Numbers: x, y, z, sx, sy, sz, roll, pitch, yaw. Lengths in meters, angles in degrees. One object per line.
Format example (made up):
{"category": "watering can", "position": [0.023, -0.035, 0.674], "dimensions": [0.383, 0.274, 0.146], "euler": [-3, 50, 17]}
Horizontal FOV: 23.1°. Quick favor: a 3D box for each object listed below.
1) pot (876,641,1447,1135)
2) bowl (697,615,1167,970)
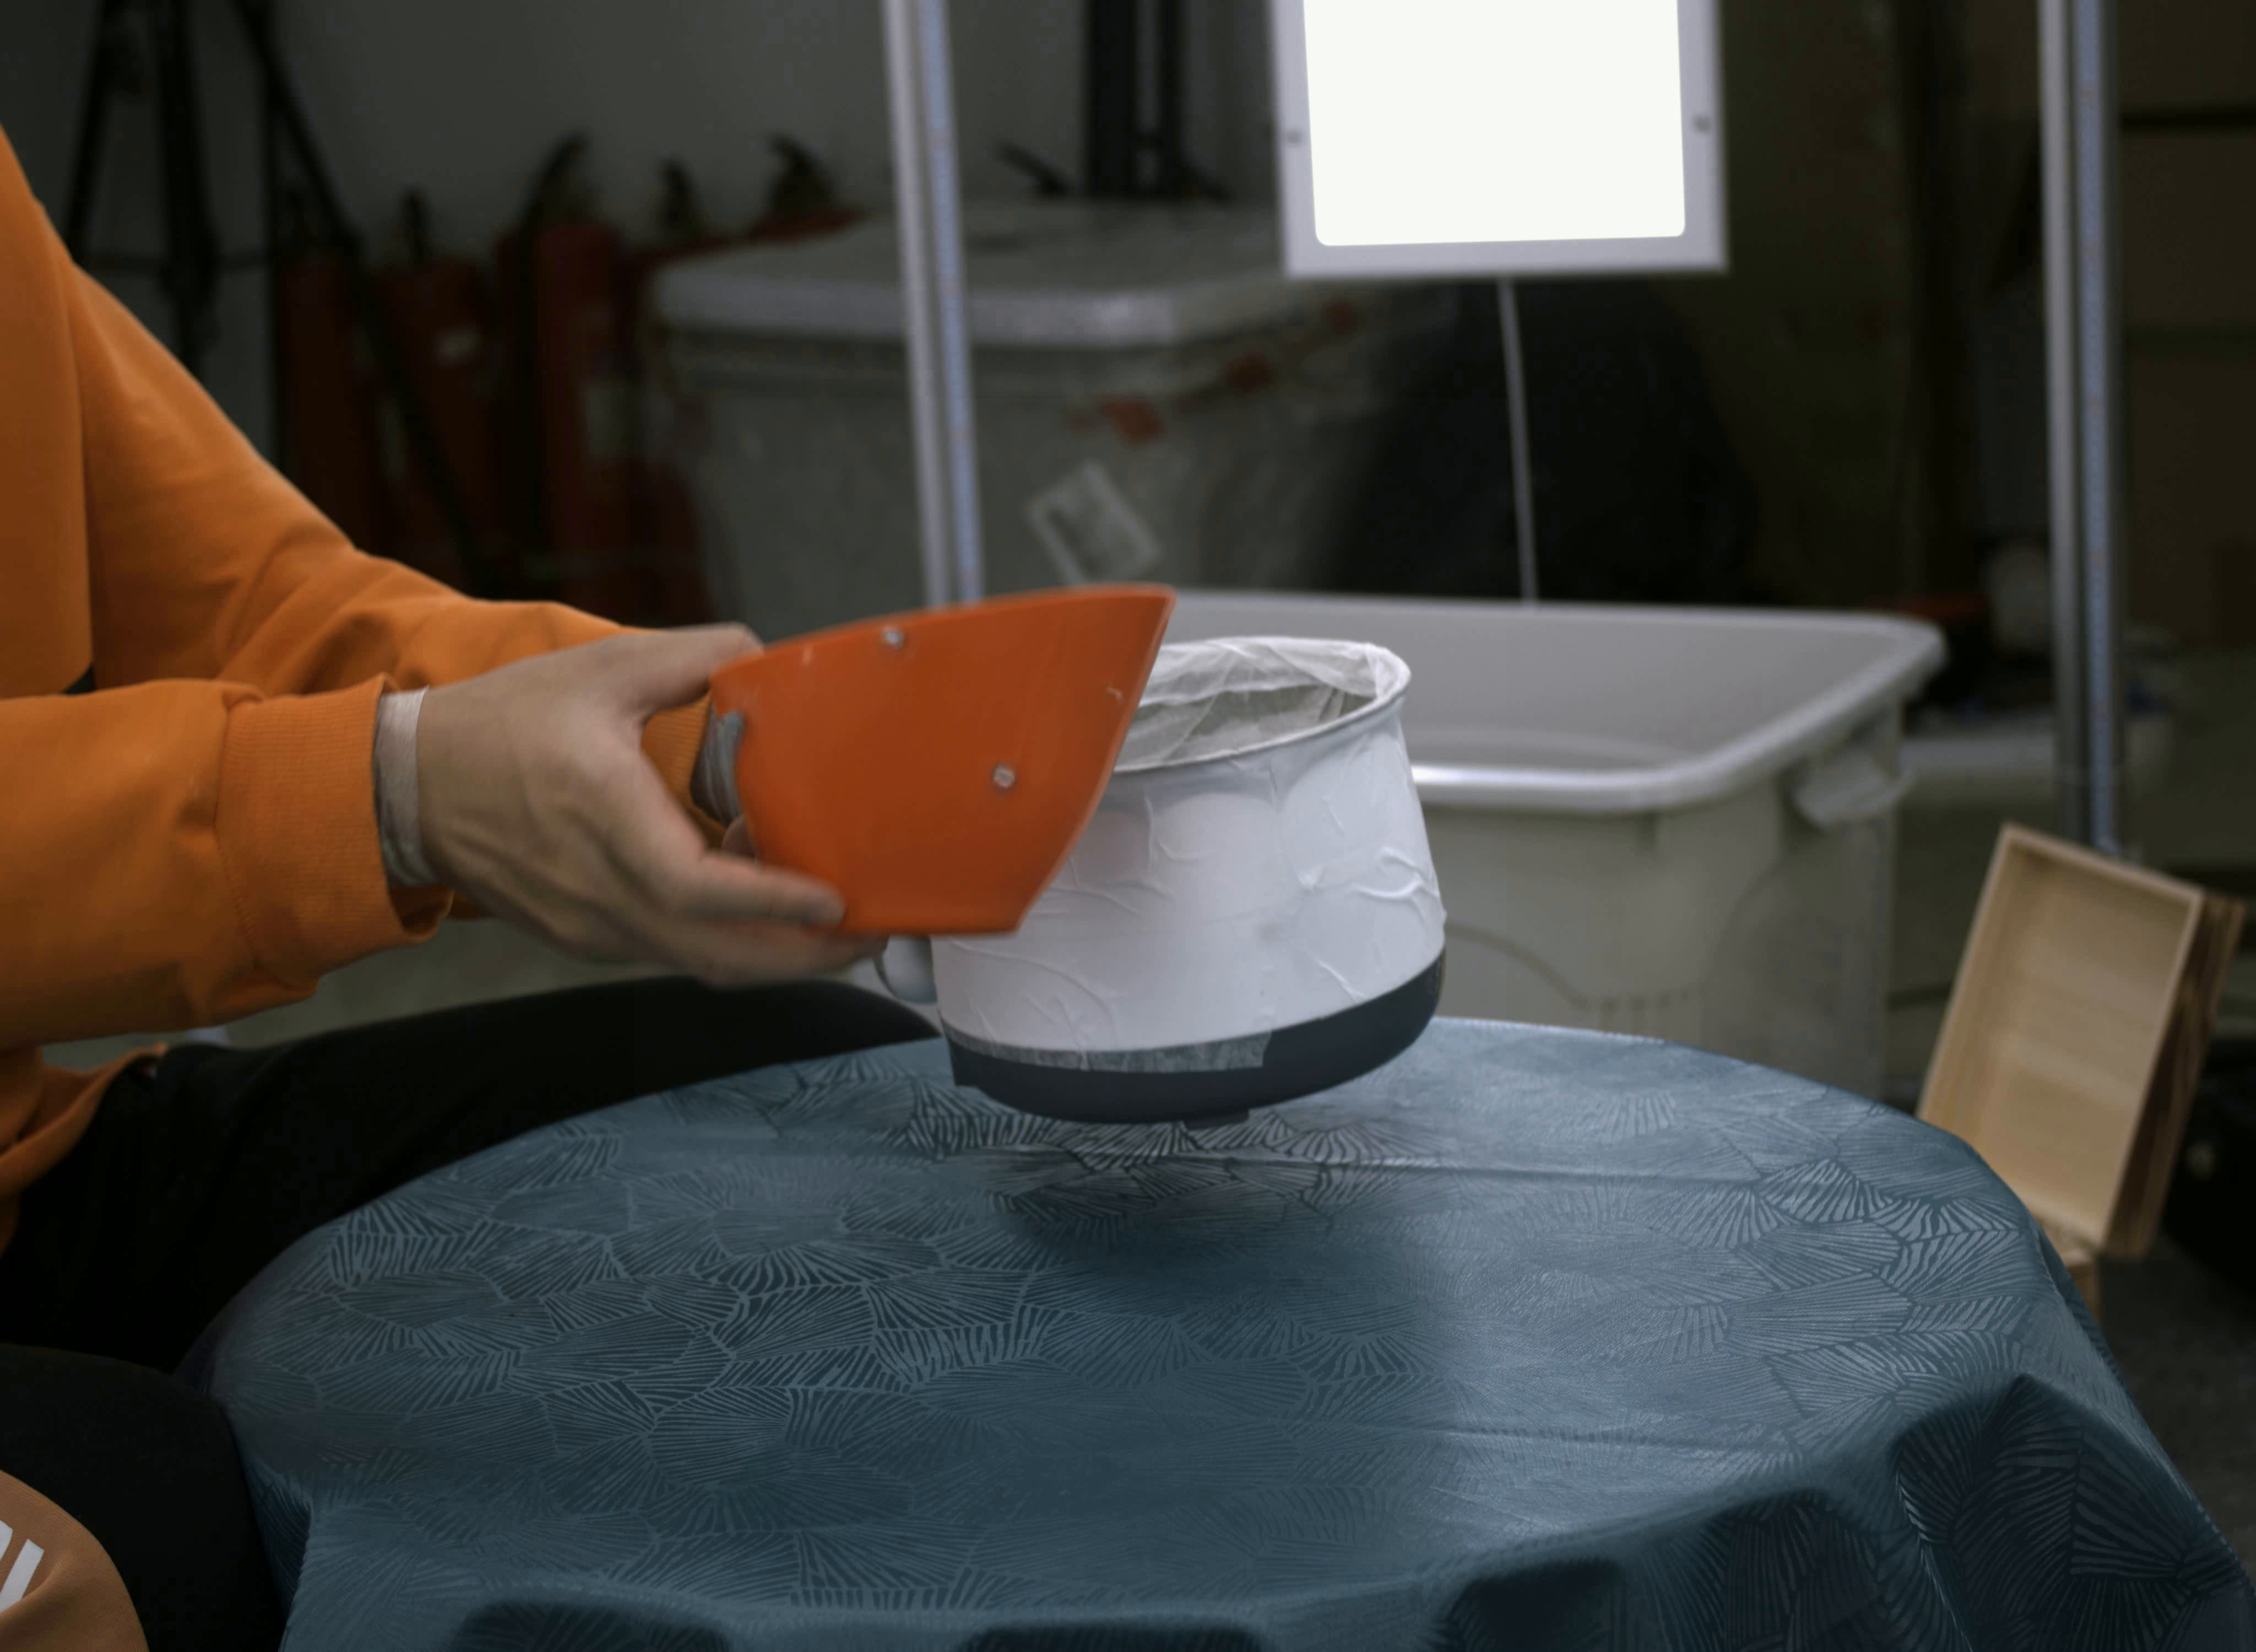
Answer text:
{"category": "pot", "position": [-0.003, 0.019, 1.908], "dimensions": [0.239, 0.137, 0.174], "euler": [5, 19, 42]}
{"category": "bowl", "position": [-0.059, -0.008, 1.701], "dimensions": [0.147, 0.105, 0.148], "euler": [-2, -2, -1]}
